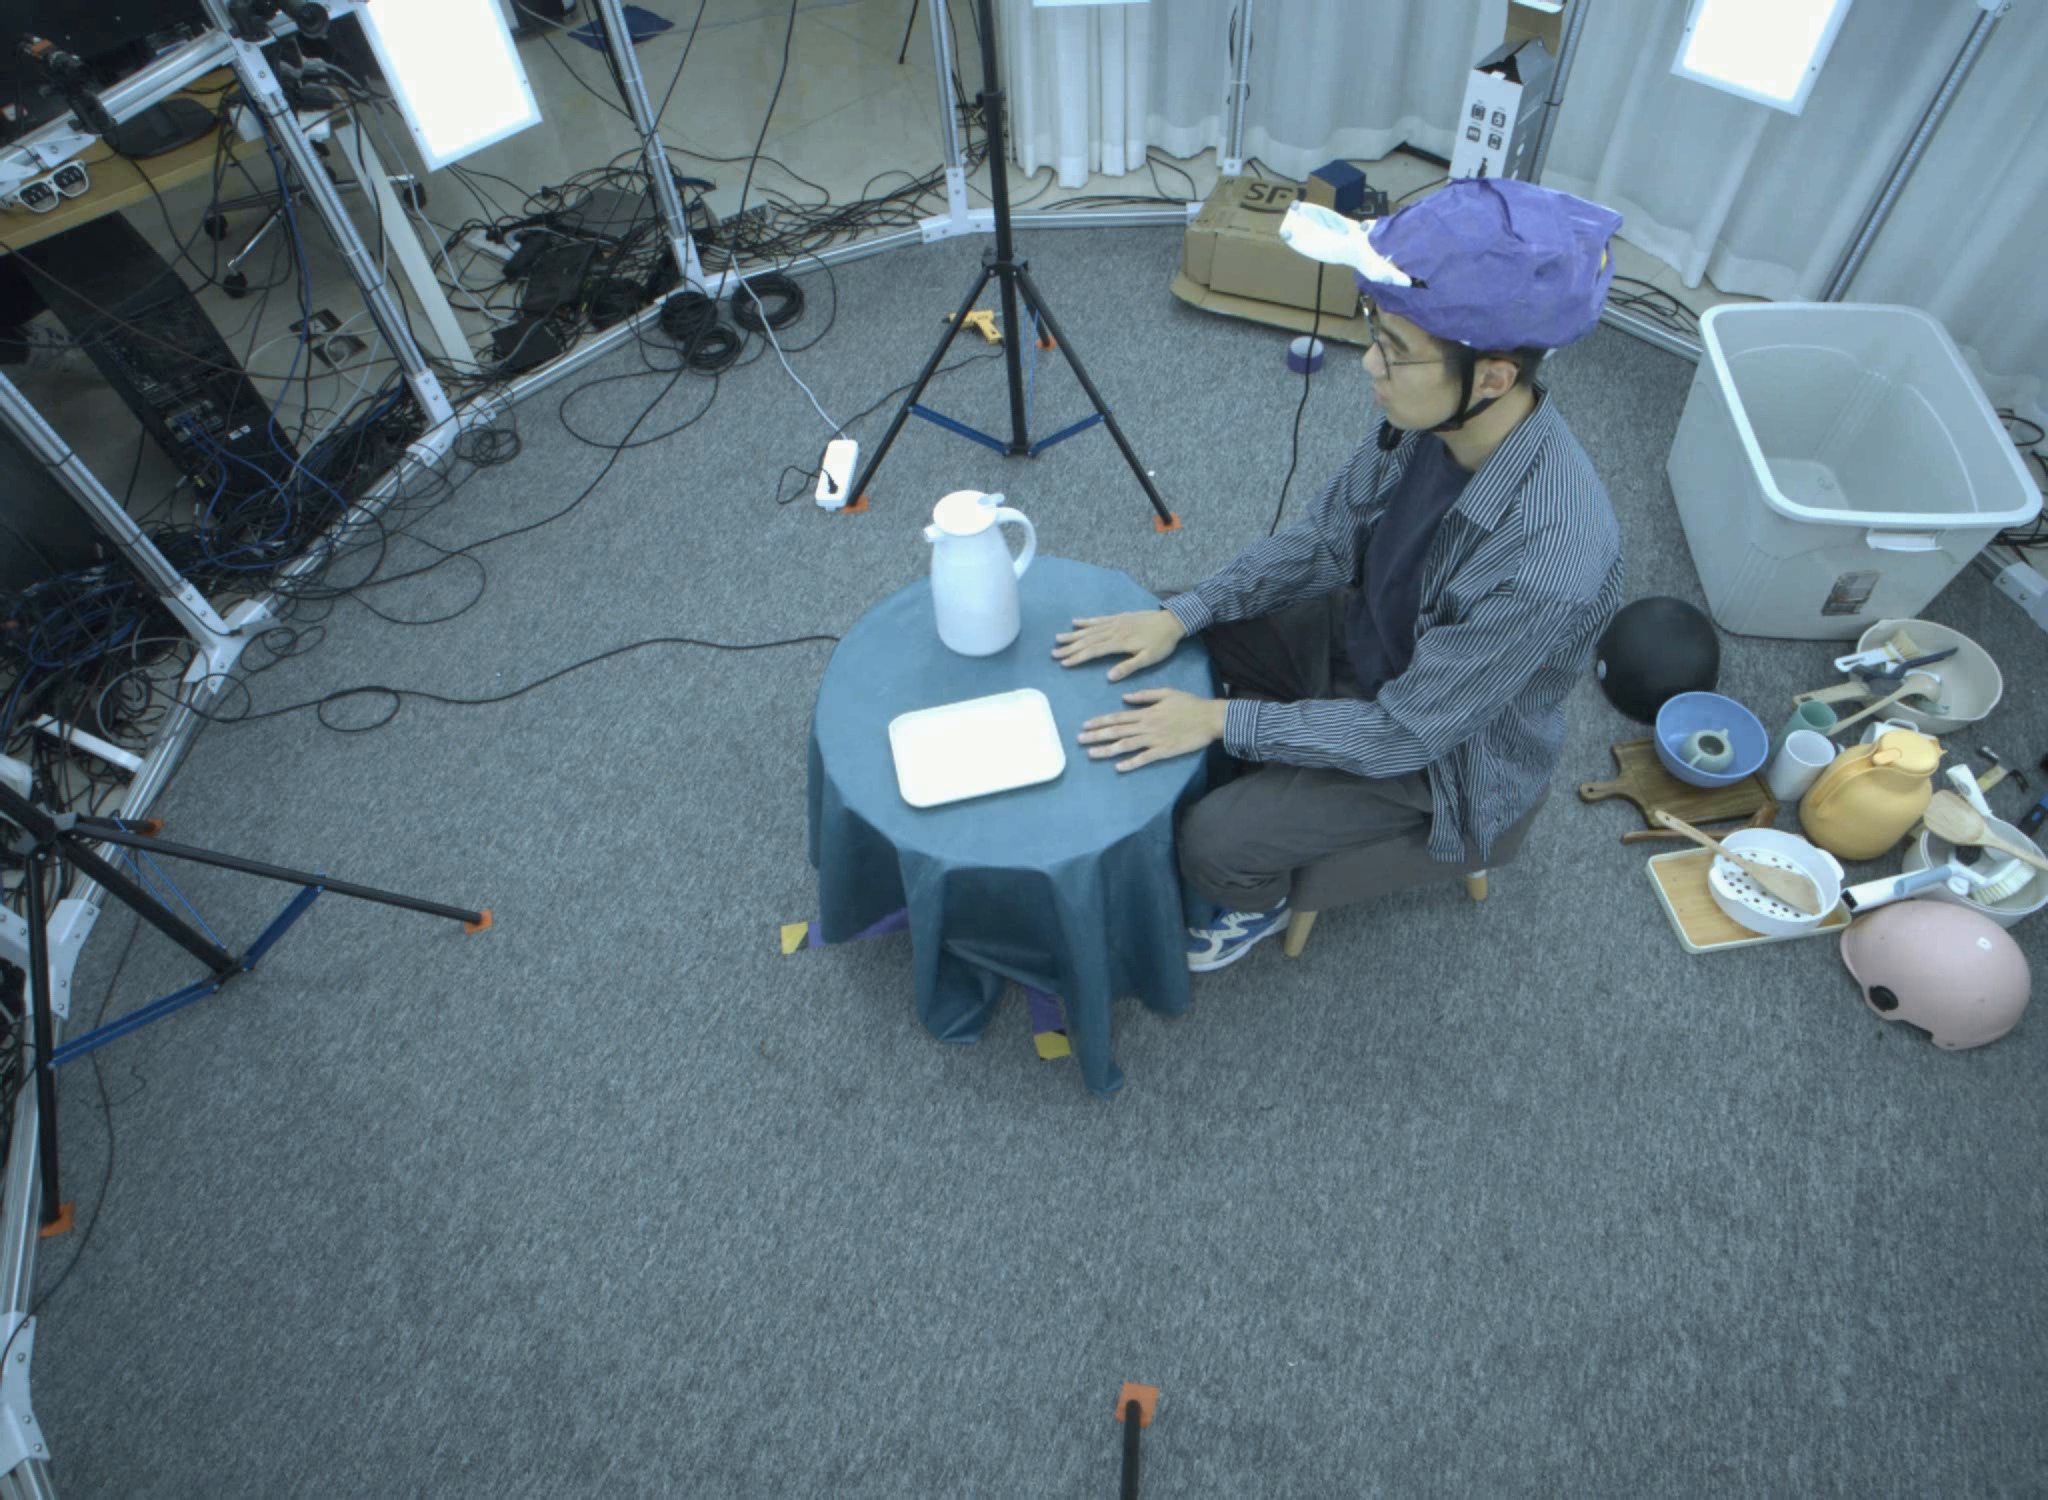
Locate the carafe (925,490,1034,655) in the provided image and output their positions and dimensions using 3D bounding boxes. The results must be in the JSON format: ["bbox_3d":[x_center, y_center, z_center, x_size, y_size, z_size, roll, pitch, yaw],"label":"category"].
[{"bbox_3d":[-0.062,-0.280,1.837,0.169,0.251,0.130,-26,56,-16],"label":"carafe"}]

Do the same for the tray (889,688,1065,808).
[{"bbox_3d":[-0.070,-0.003,1.786,0.241,0.017,0.168,-12,56,-7],"label":"tray"}]
